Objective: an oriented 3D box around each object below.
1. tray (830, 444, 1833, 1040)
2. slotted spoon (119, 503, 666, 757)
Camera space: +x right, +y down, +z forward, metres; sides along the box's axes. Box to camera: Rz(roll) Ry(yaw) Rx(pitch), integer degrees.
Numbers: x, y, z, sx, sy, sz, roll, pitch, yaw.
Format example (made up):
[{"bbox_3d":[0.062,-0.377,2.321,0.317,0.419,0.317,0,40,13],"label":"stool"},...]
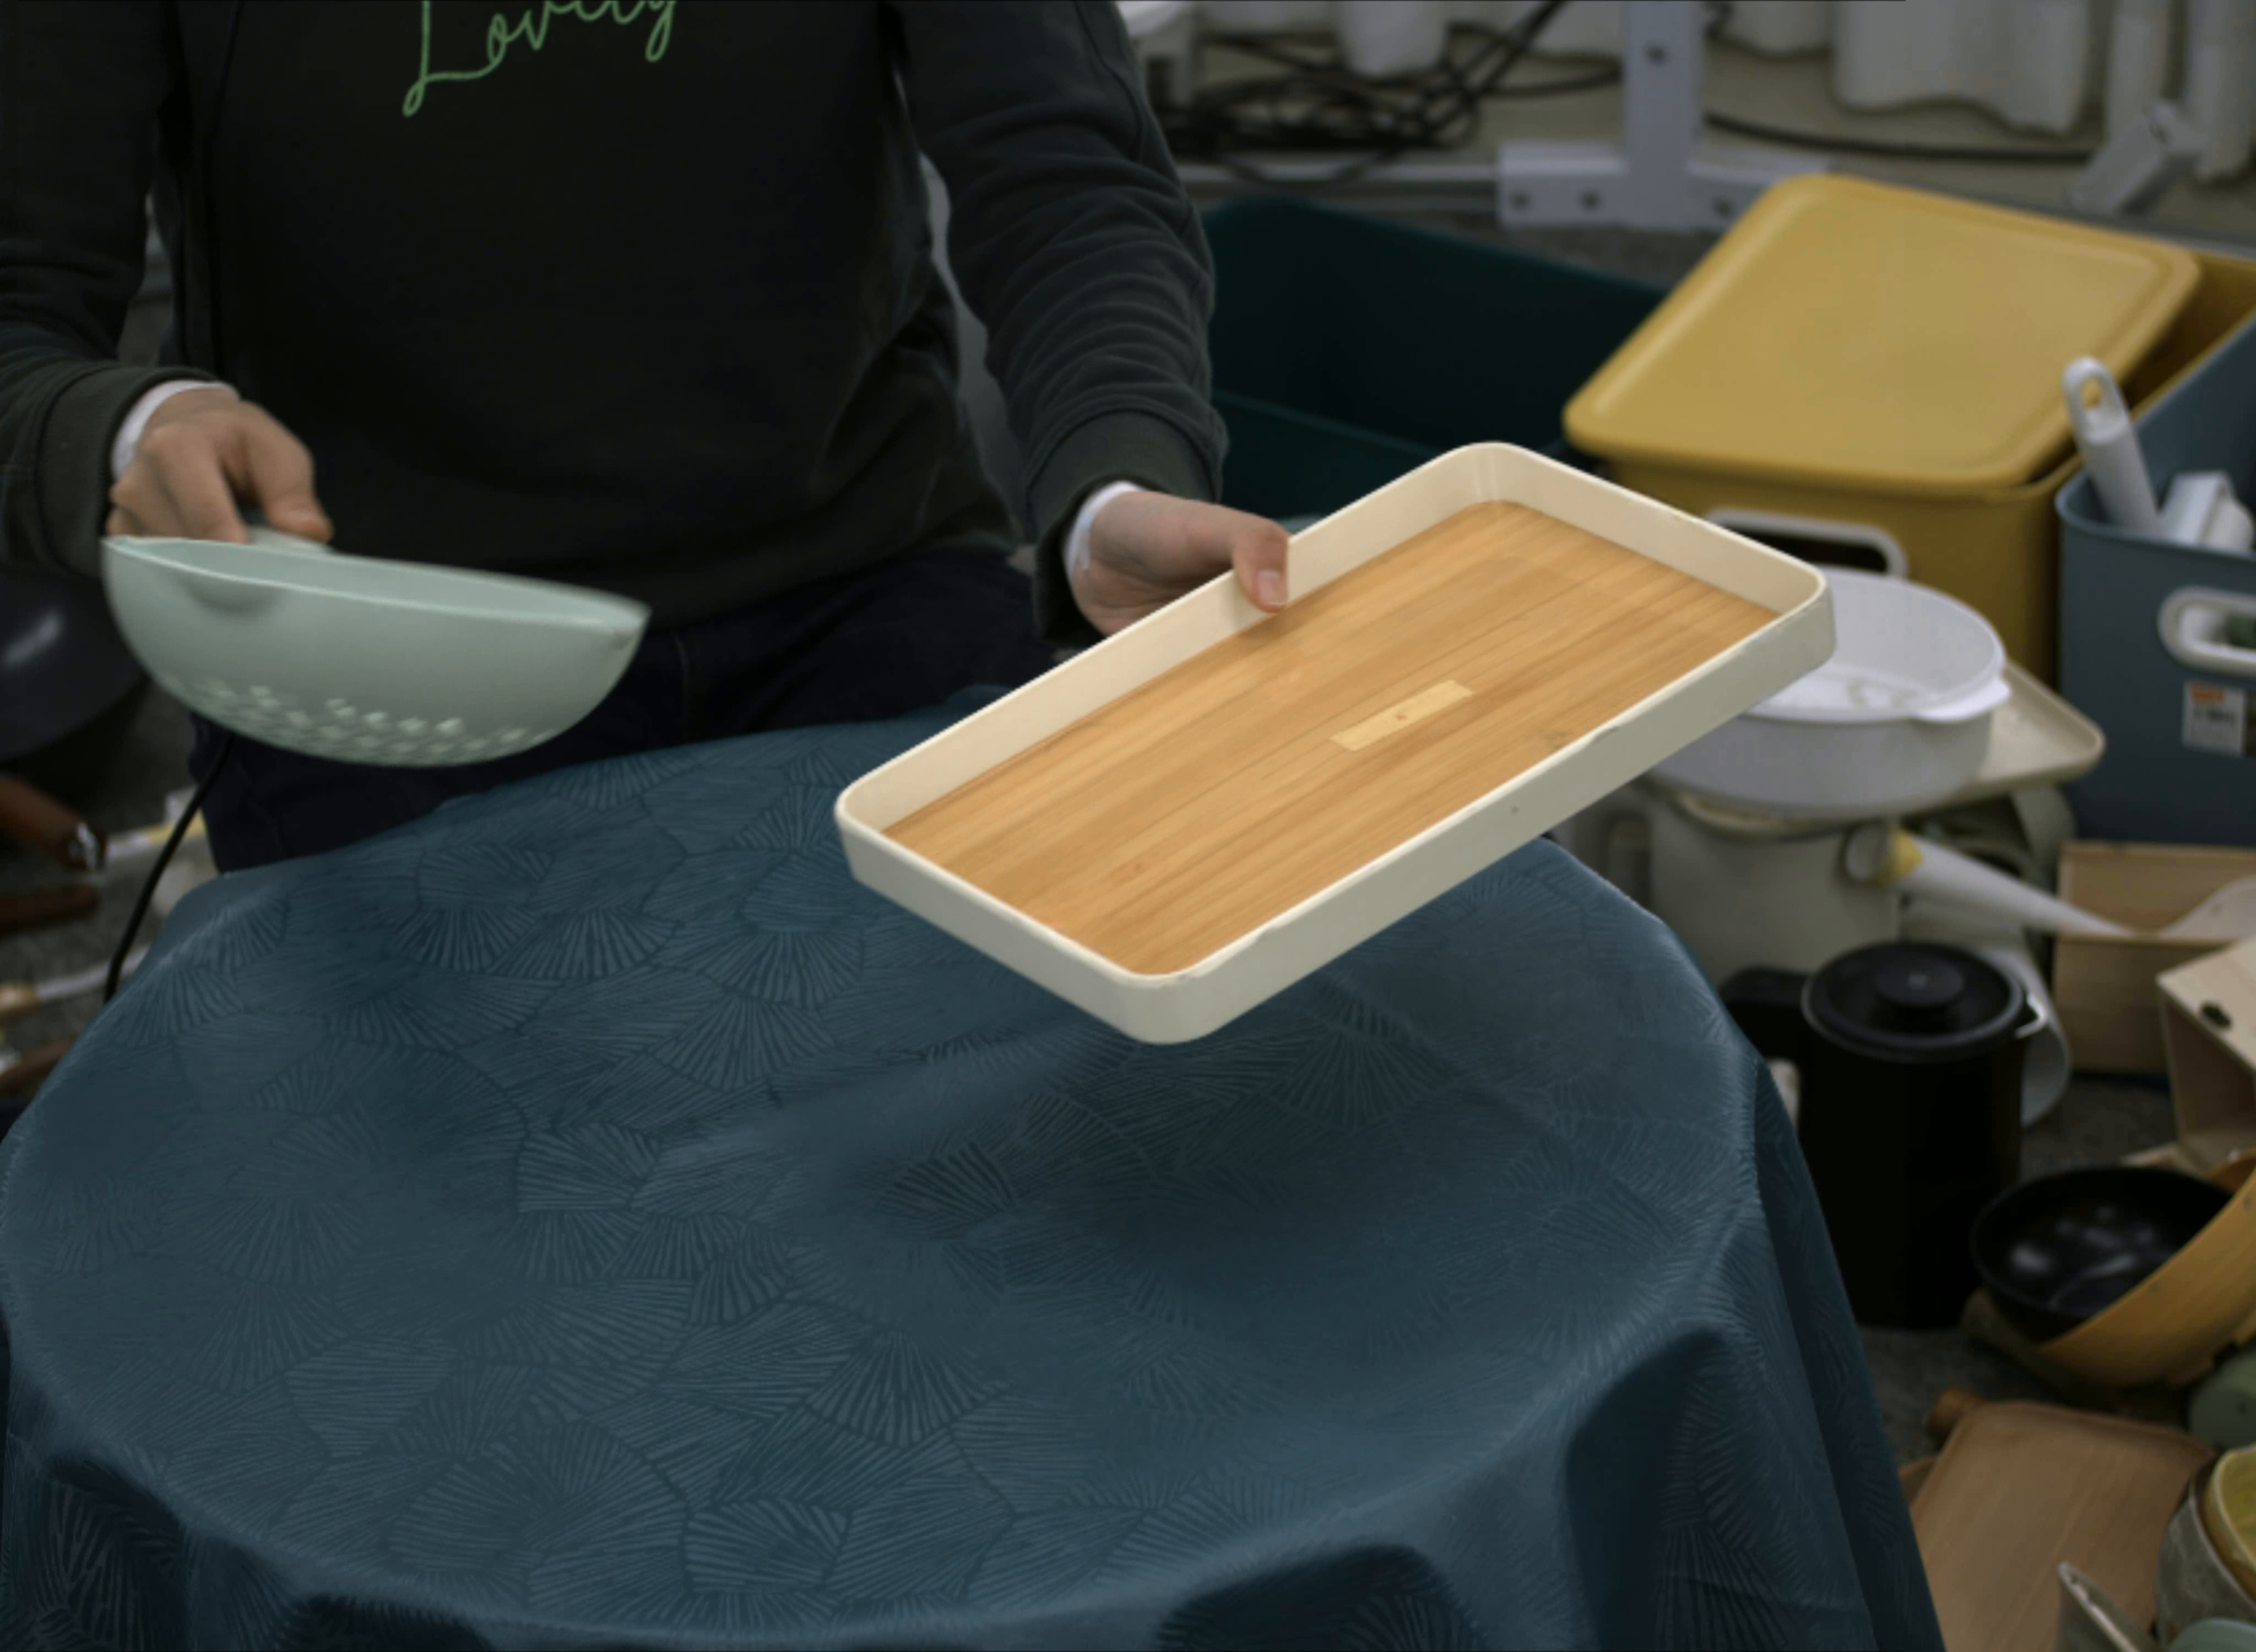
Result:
[{"bbox_3d":[0.068,-0.033,1.867,0.303,0.027,0.191,-29,34,-27],"label":"tray"},{"bbox_3d":[-0.262,-0.079,1.840,0.169,0.075,0.360,5,13,-20],"label":"slotted spoon"}]
